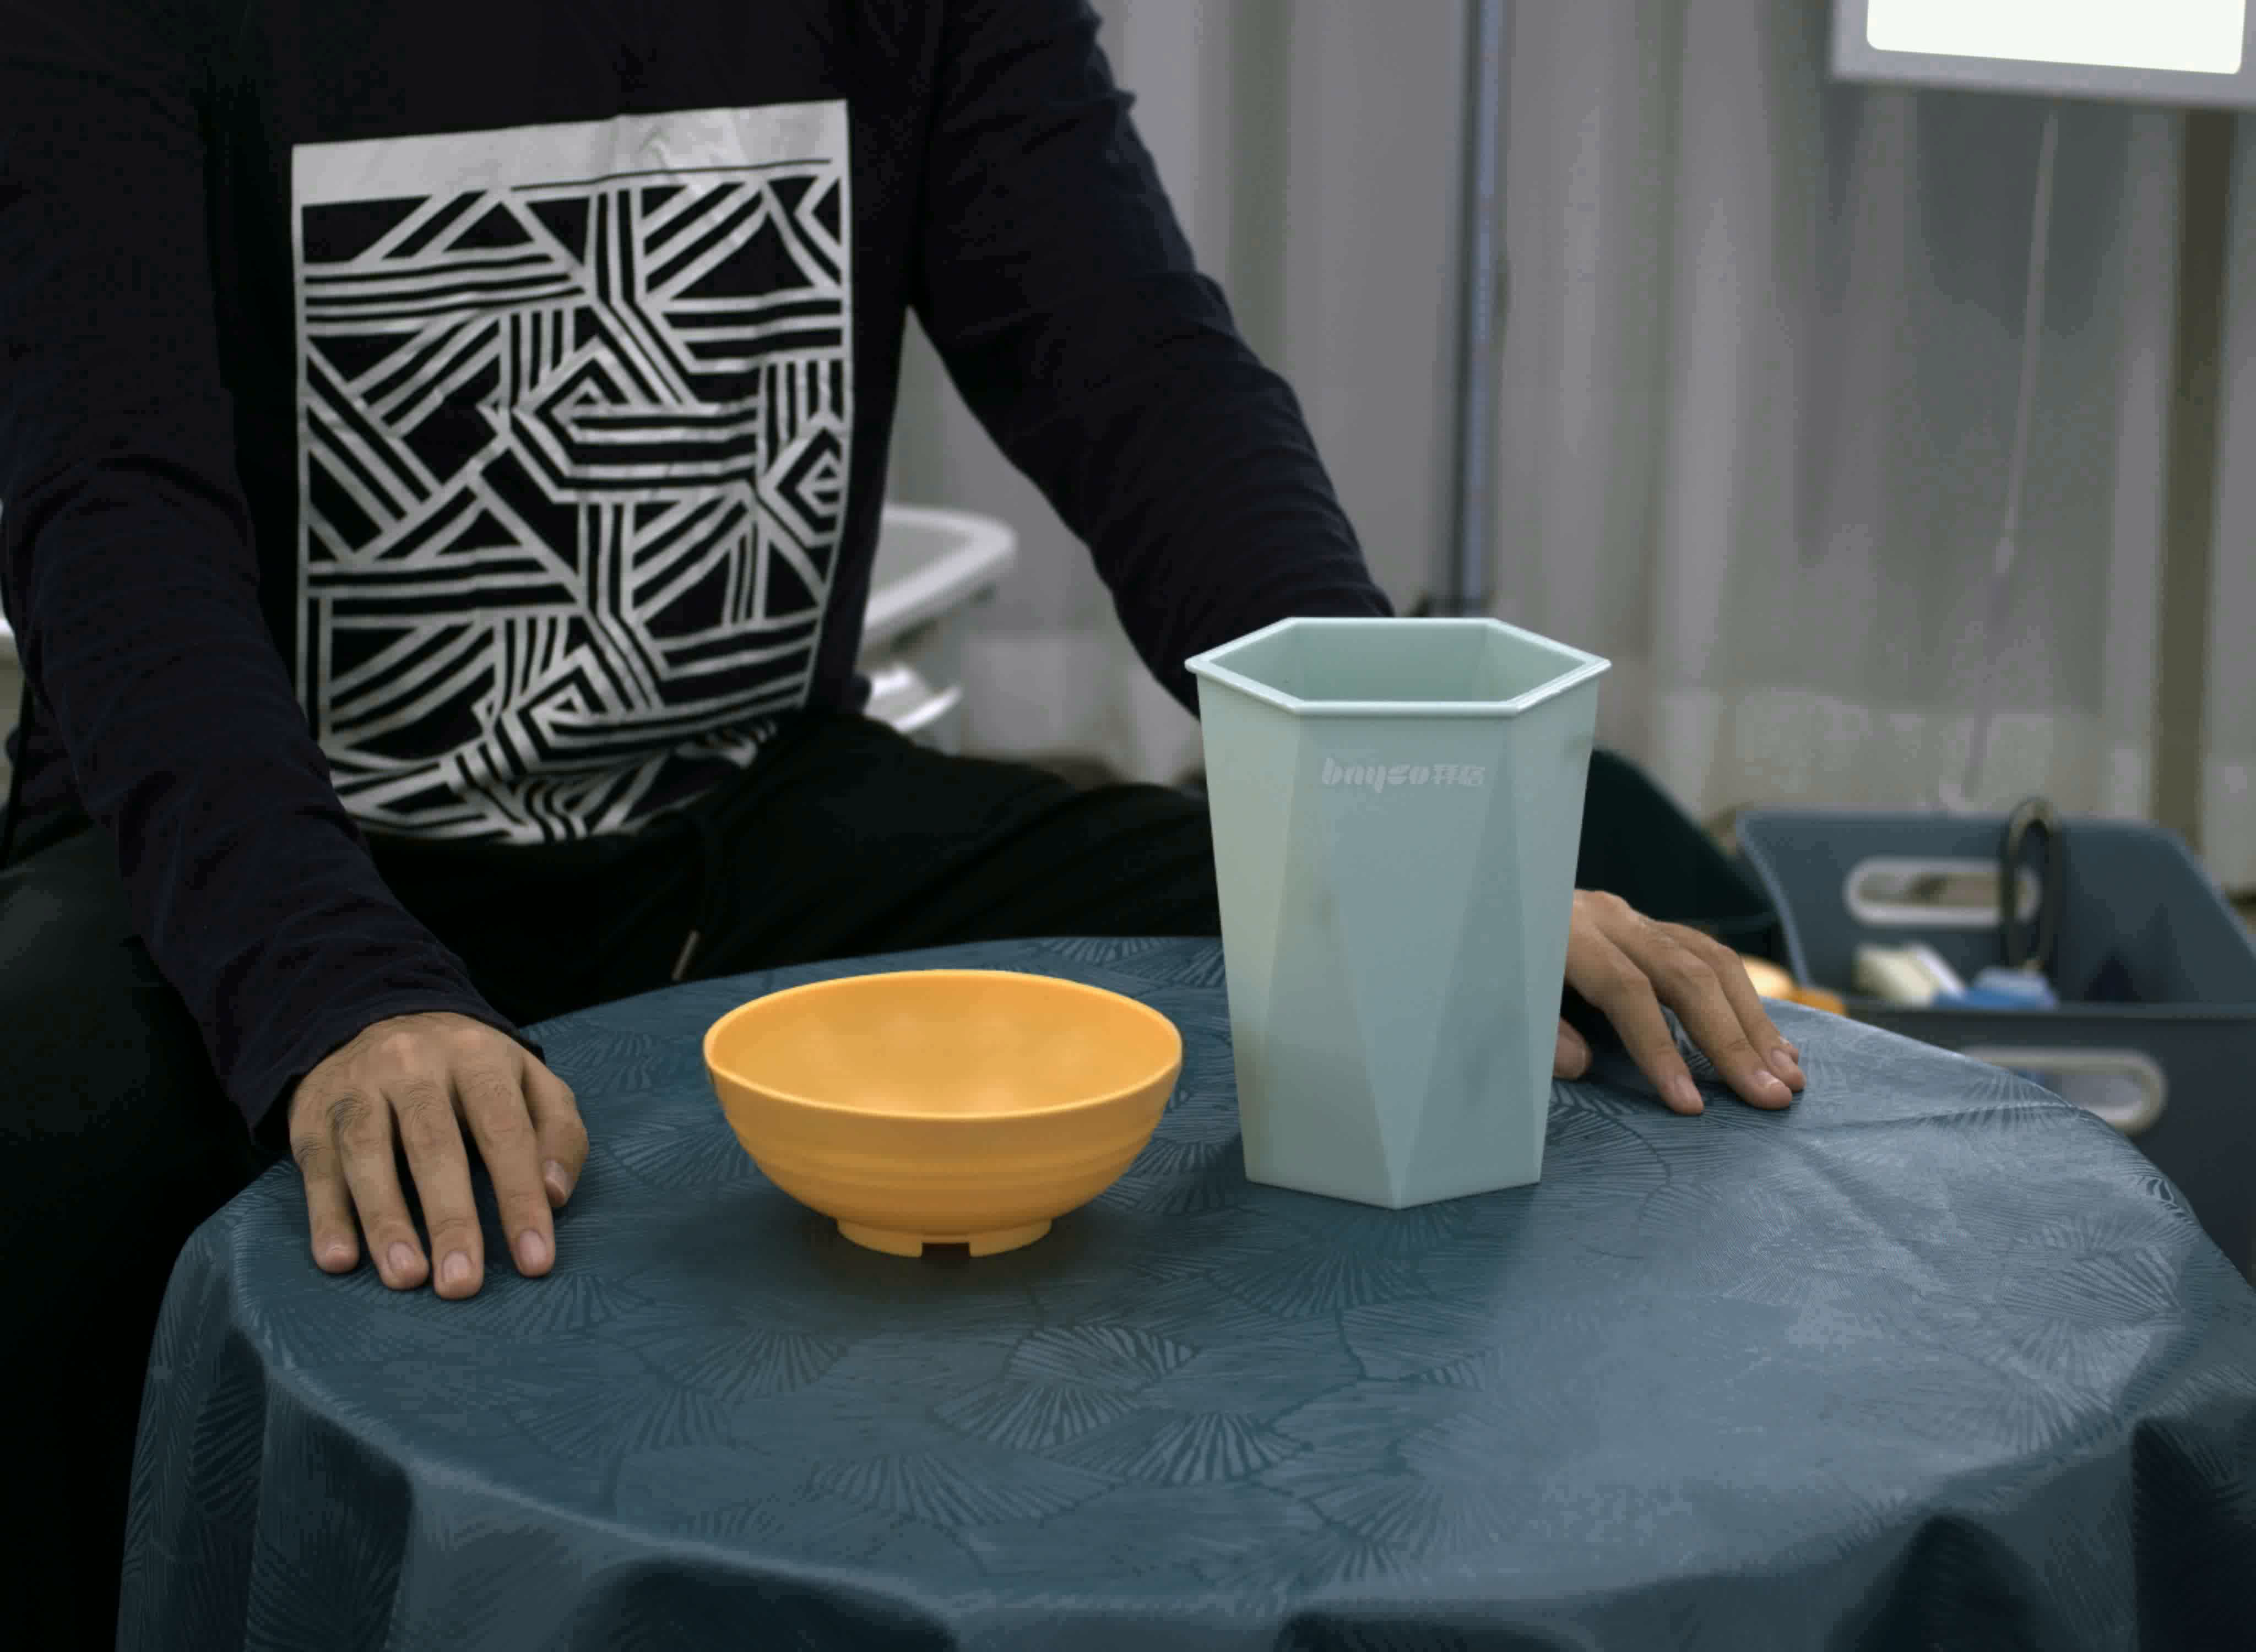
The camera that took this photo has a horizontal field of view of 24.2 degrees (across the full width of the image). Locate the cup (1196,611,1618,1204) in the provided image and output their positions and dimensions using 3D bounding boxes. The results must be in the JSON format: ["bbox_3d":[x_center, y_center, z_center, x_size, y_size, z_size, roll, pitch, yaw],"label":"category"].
[{"bbox_3d":[0.085,0.025,1.638,0.131,0.164,0.114,1,15,-2],"label":"cup"}]

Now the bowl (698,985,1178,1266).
[{"bbox_3d":[-0.057,0.095,1.588,0.145,0.060,0.144,1,13,0],"label":"bowl"}]
